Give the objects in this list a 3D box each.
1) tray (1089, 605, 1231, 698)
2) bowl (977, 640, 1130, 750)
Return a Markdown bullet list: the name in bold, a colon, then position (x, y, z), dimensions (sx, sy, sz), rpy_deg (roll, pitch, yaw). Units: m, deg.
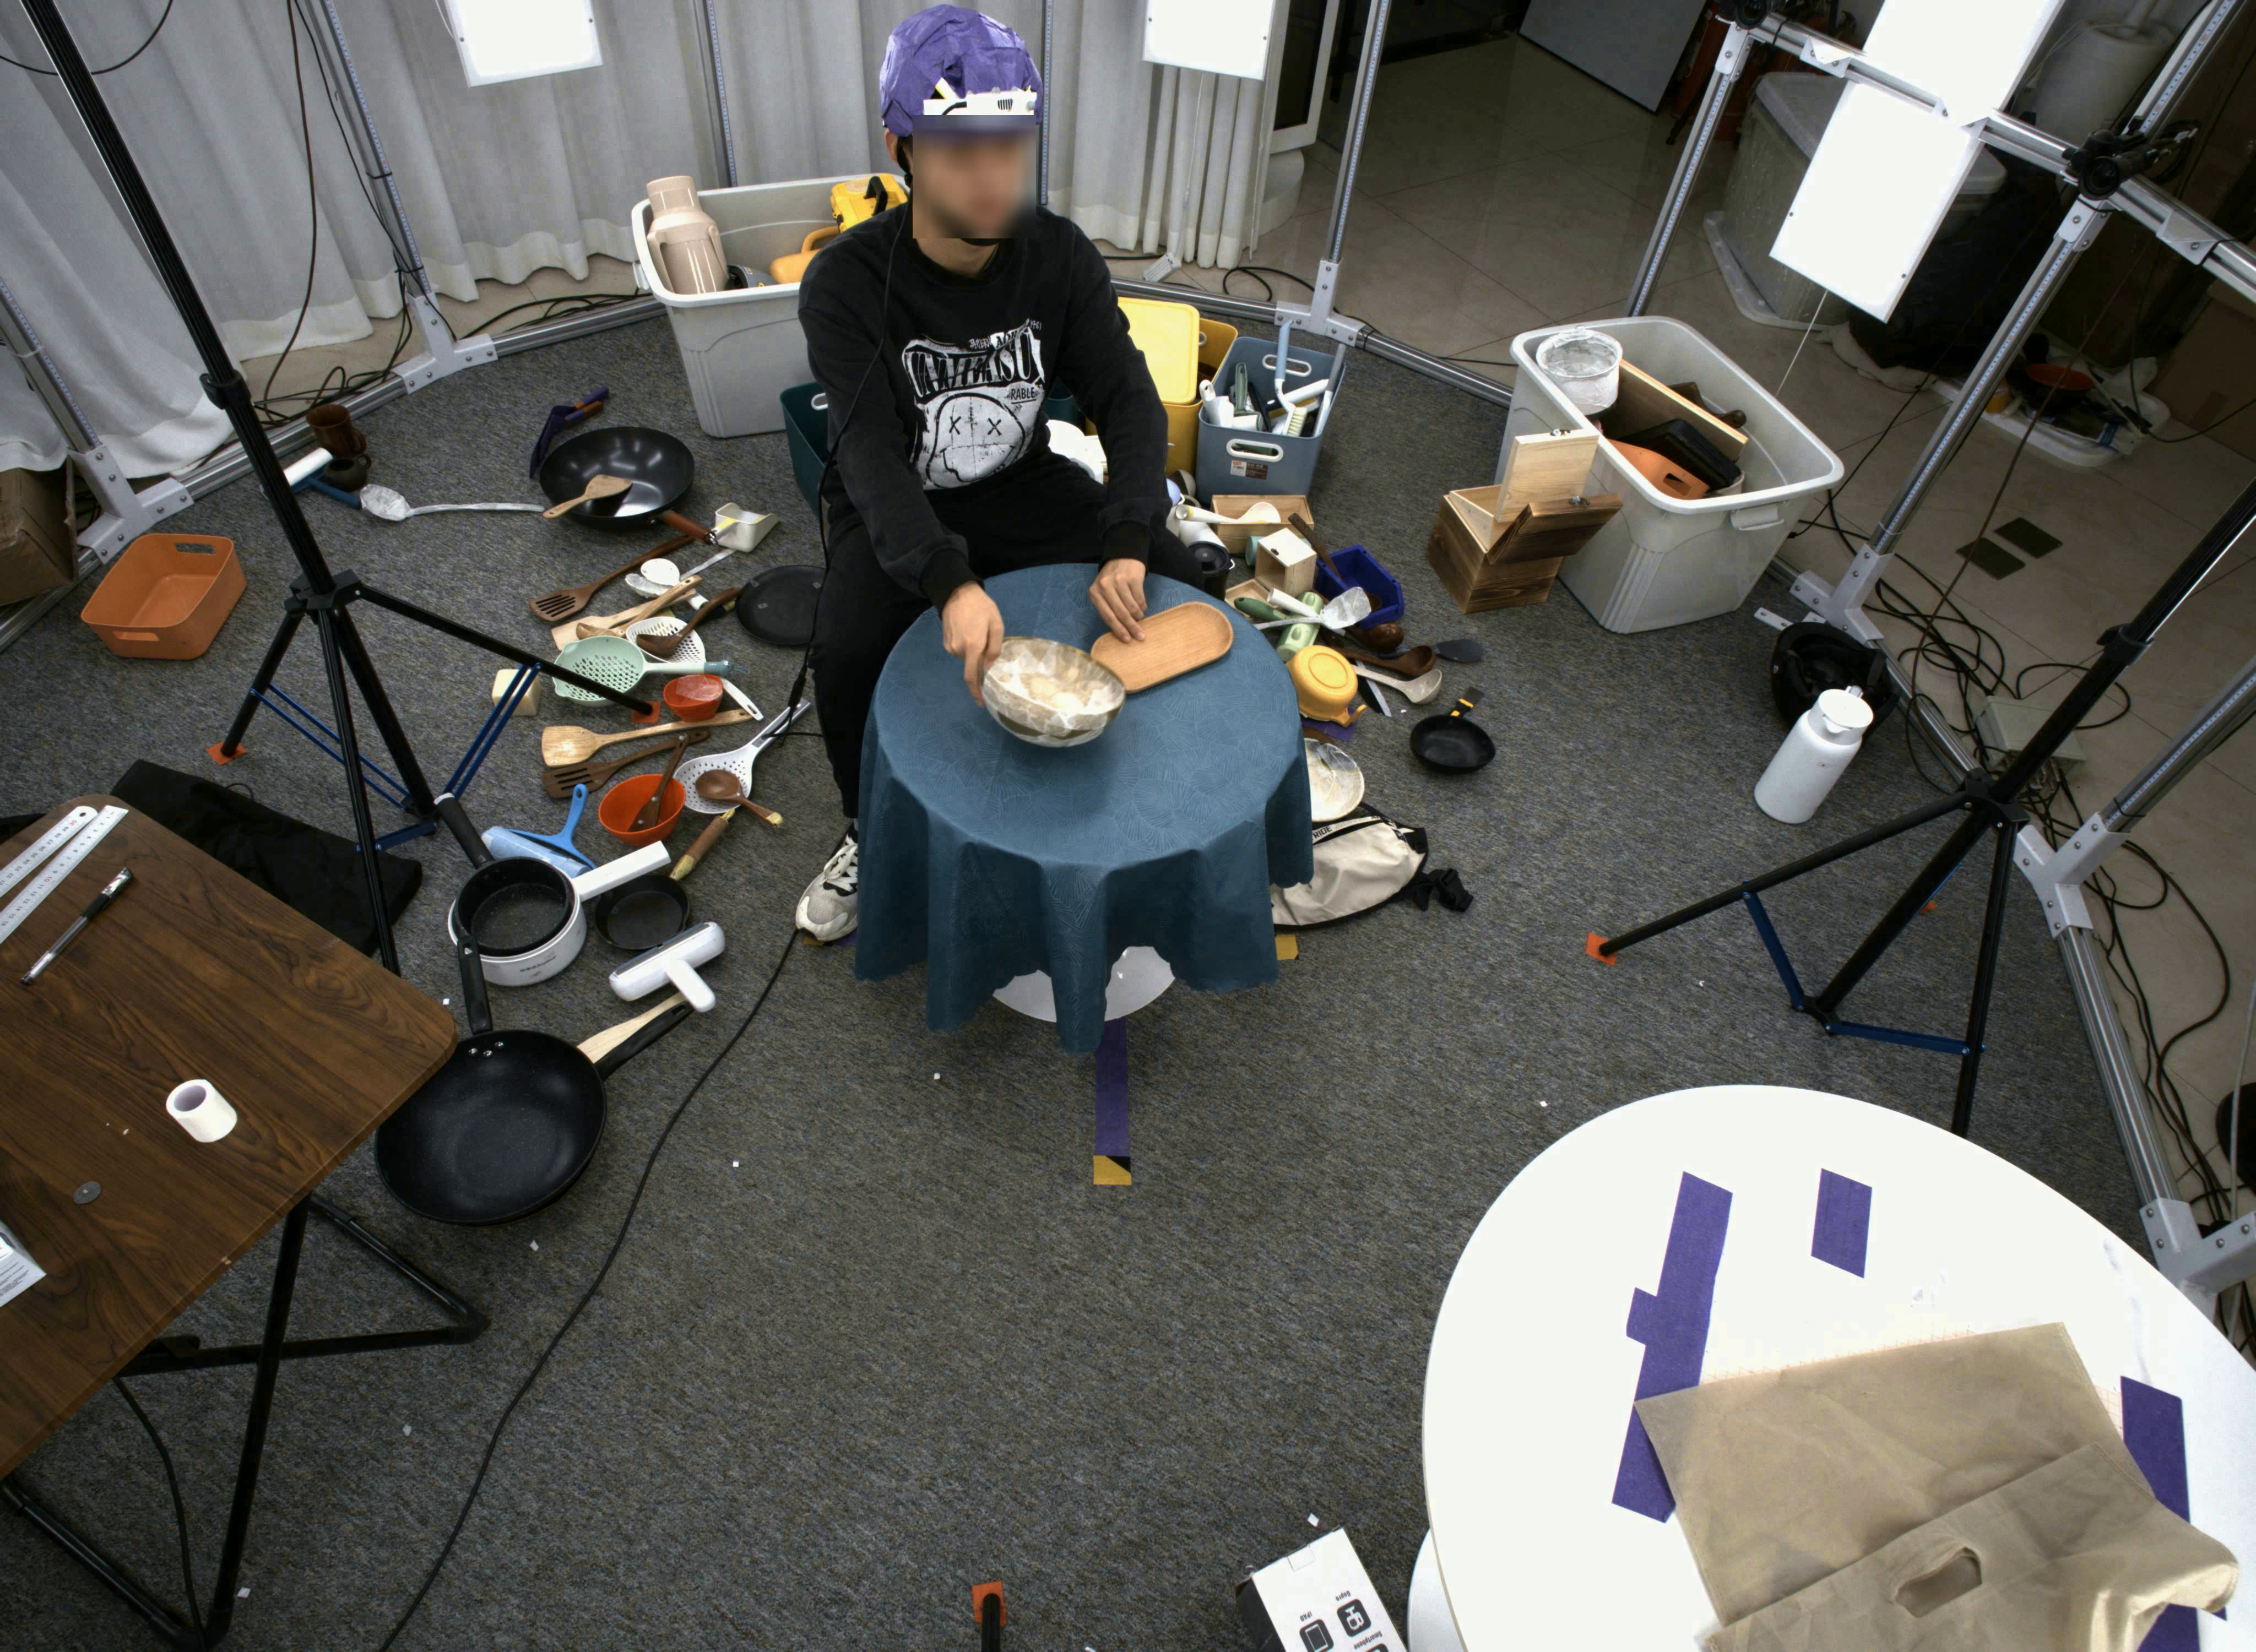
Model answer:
- **tray**: position (0.048, -0.257, 1.887), dimensions (0.232, 0.020, 0.103), rpy_deg (-26, 69, -22)
- **bowl**: position (-0.111, -0.164, 1.735), dimensions (0.214, 0.093, 0.219), rpy_deg (15, 28, -8)
